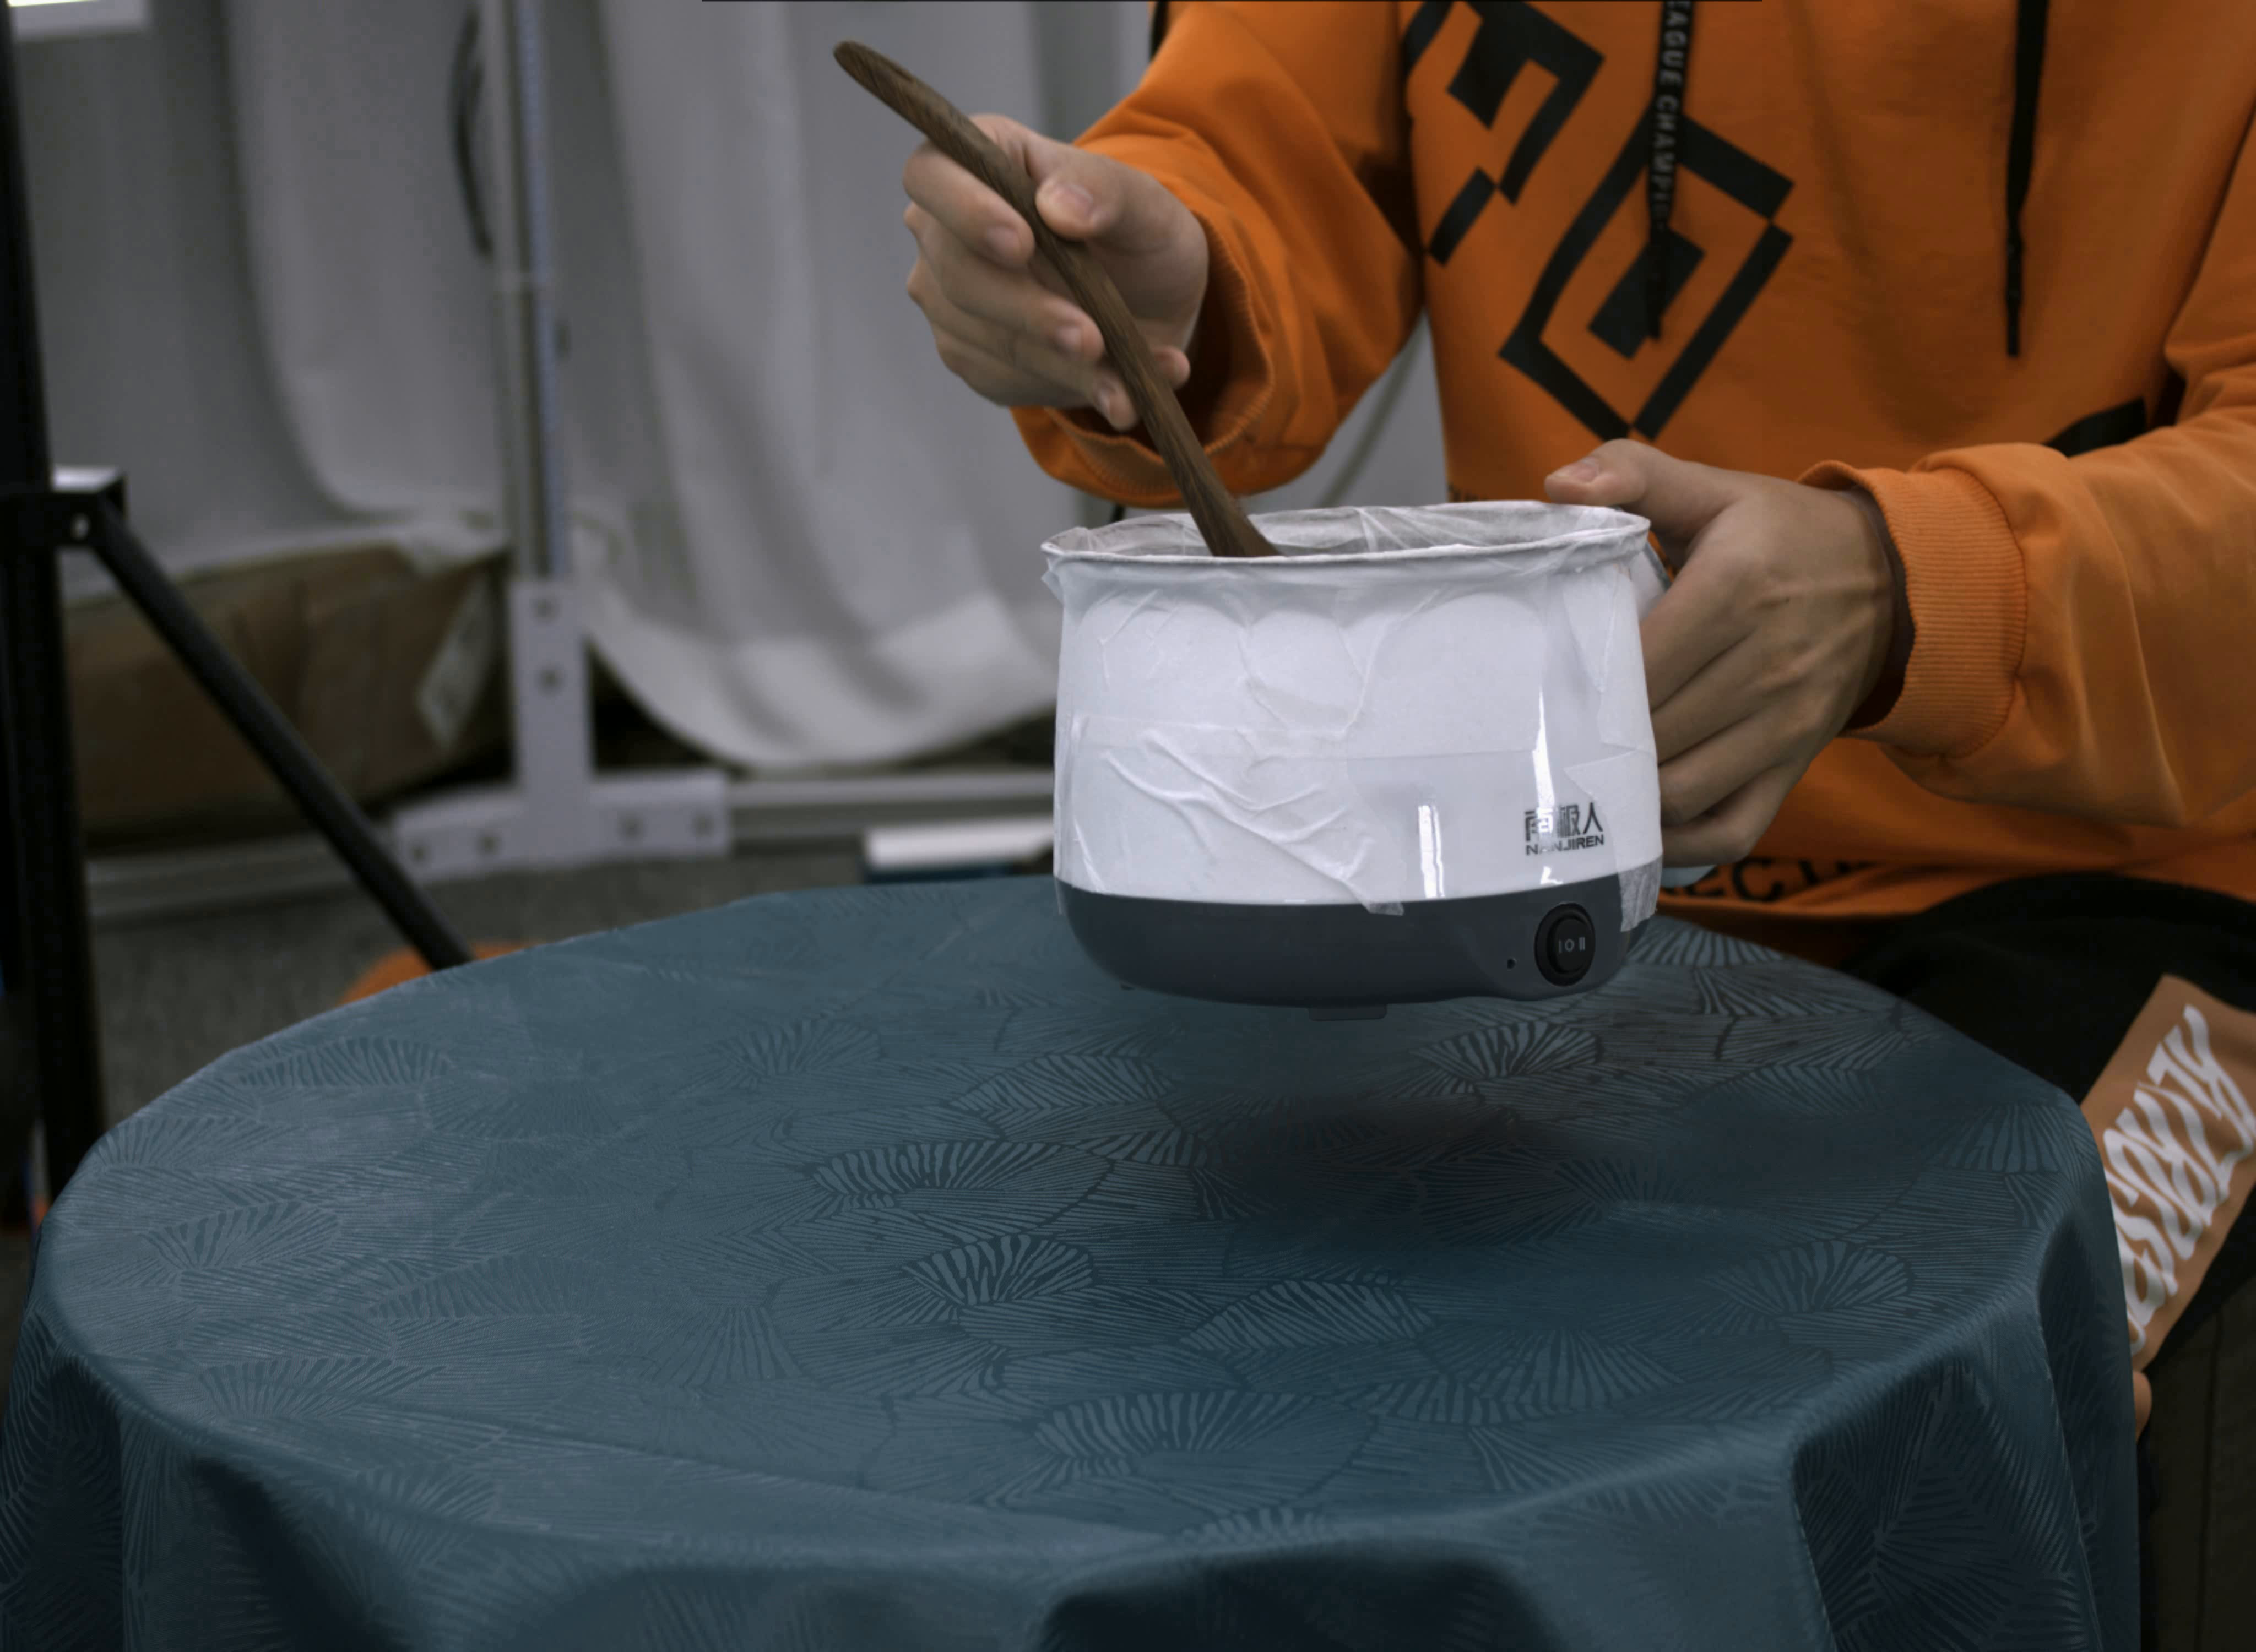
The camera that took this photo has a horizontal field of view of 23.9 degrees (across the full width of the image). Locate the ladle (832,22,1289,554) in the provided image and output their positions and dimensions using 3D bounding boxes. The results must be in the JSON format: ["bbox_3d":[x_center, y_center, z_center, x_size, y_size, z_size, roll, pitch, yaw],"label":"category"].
[{"bbox_3d":[0.018,-0.145,1.555,0.071,0.276,0.075,-37,-10,12],"label":"ladle"}]

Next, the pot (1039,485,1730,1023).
[{"bbox_3d":[0.086,-0.025,1.555,0.228,0.137,0.183,-9,10,-40],"label":"pot"}]
